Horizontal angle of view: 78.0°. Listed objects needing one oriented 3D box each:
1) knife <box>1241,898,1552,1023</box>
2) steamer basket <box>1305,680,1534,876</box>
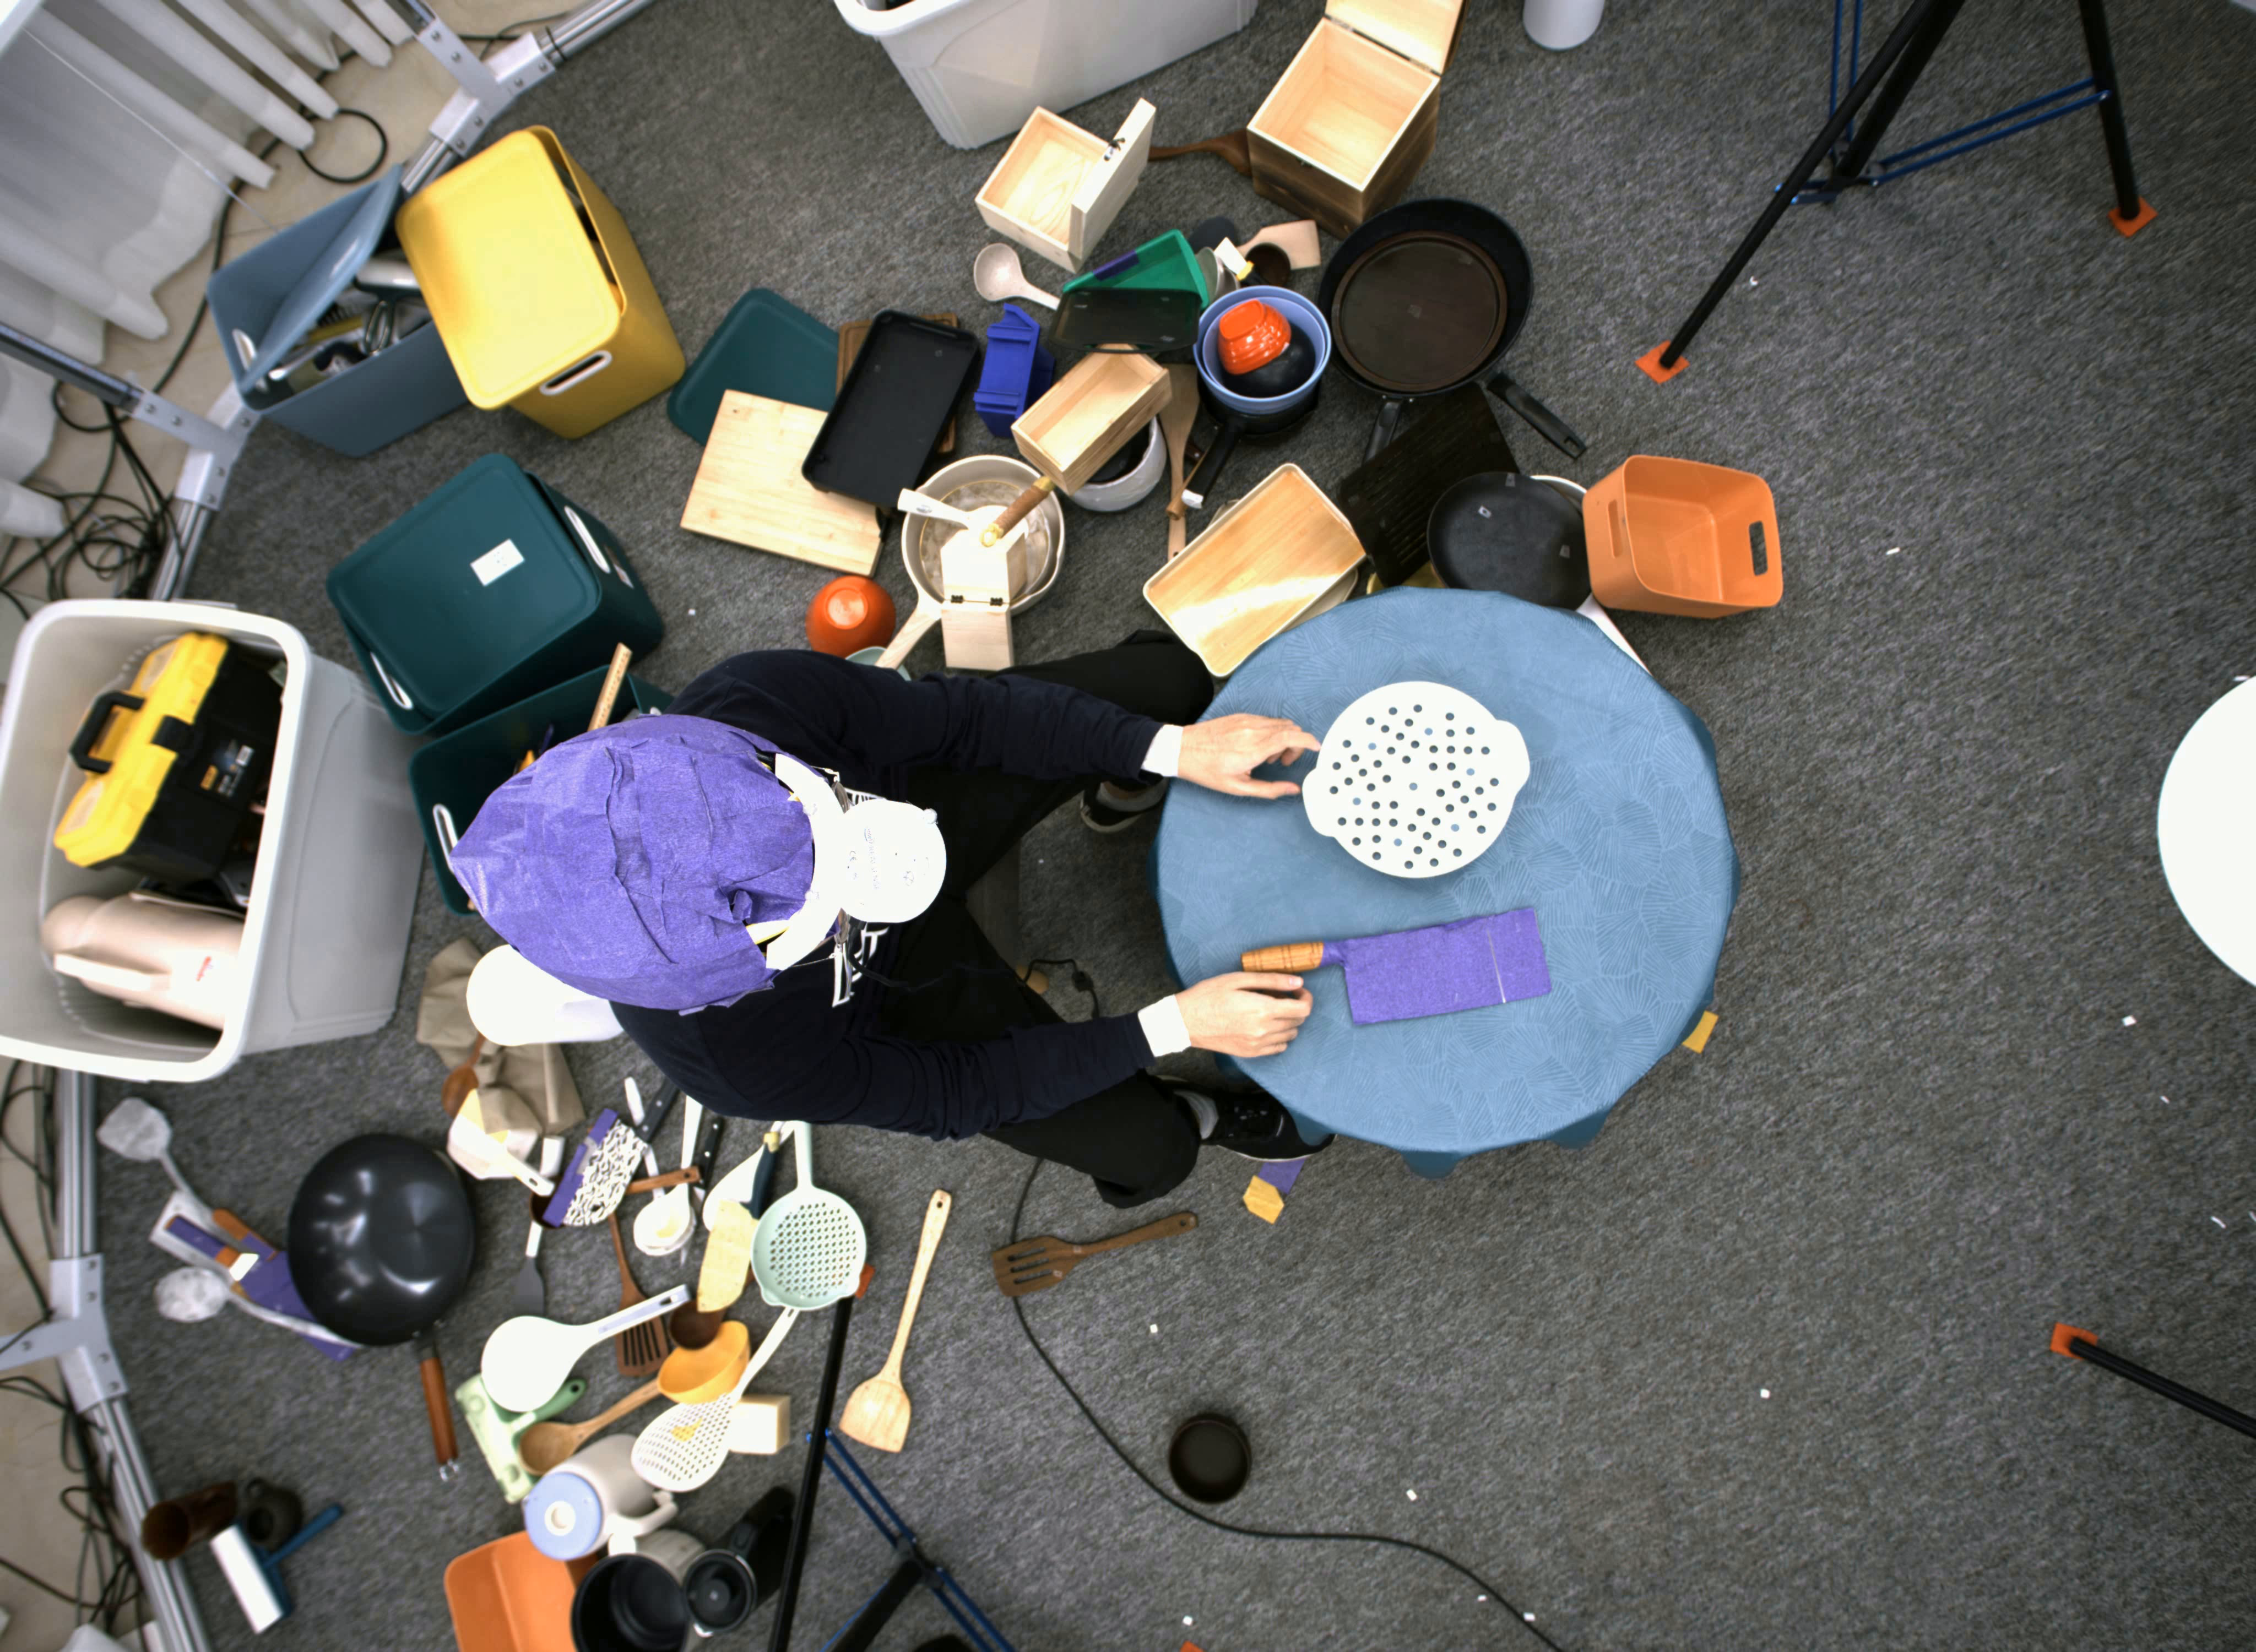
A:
[{"bbox_3d":[0.280,0.152,1.440,0.317,0.032,0.103,-11,84,9],"label":"knife"},{"bbox_3d":[0.302,-0.048,1.428,0.232,0.069,0.200,-15,83,12],"label":"steamer basket"}]
